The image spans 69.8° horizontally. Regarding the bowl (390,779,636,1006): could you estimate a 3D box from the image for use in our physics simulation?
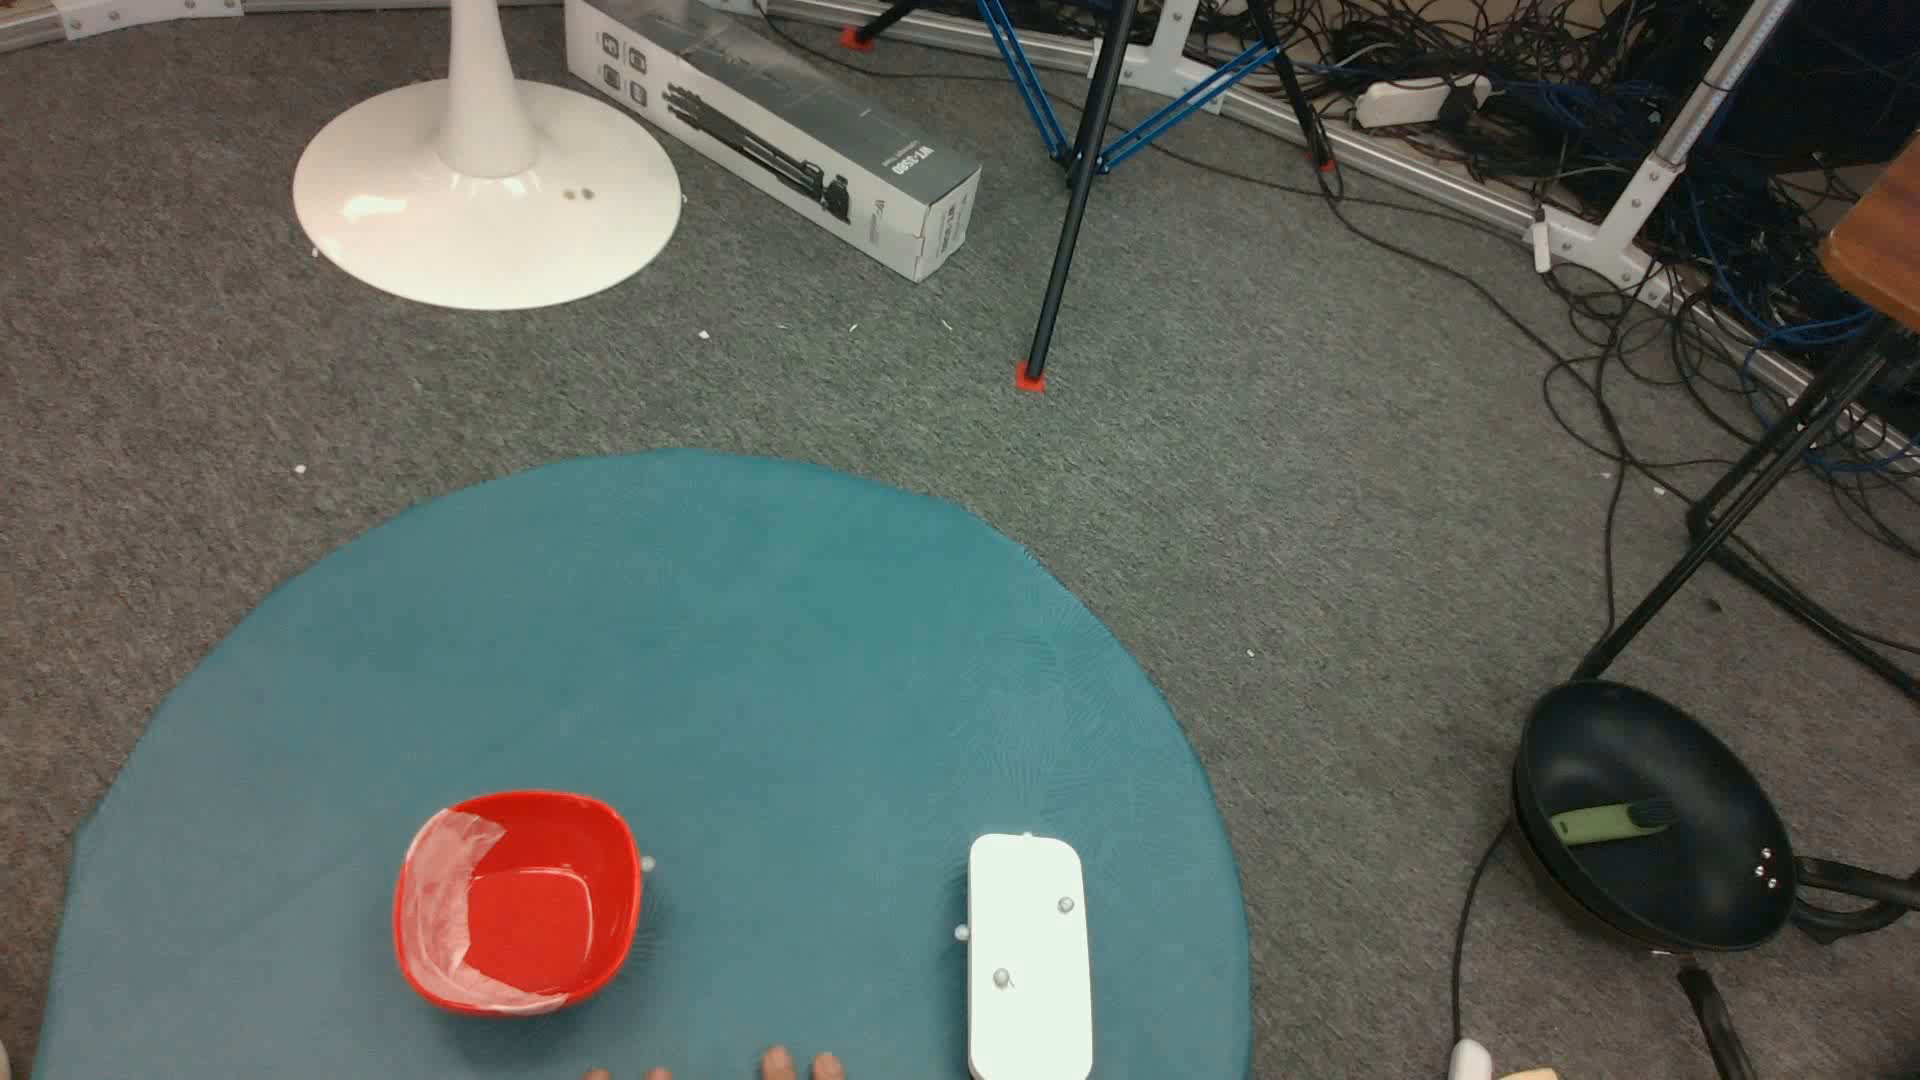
[{"bbox_3d":[-0.214,0.176,0.666,0.119,0.051,0.119,8,50,-9],"label":"bowl"}]

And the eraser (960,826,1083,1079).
[{"bbox_3d":[0.029,0.210,0.711,0.063,0.034,0.132,7,49,-7],"label":"eraser"}]
